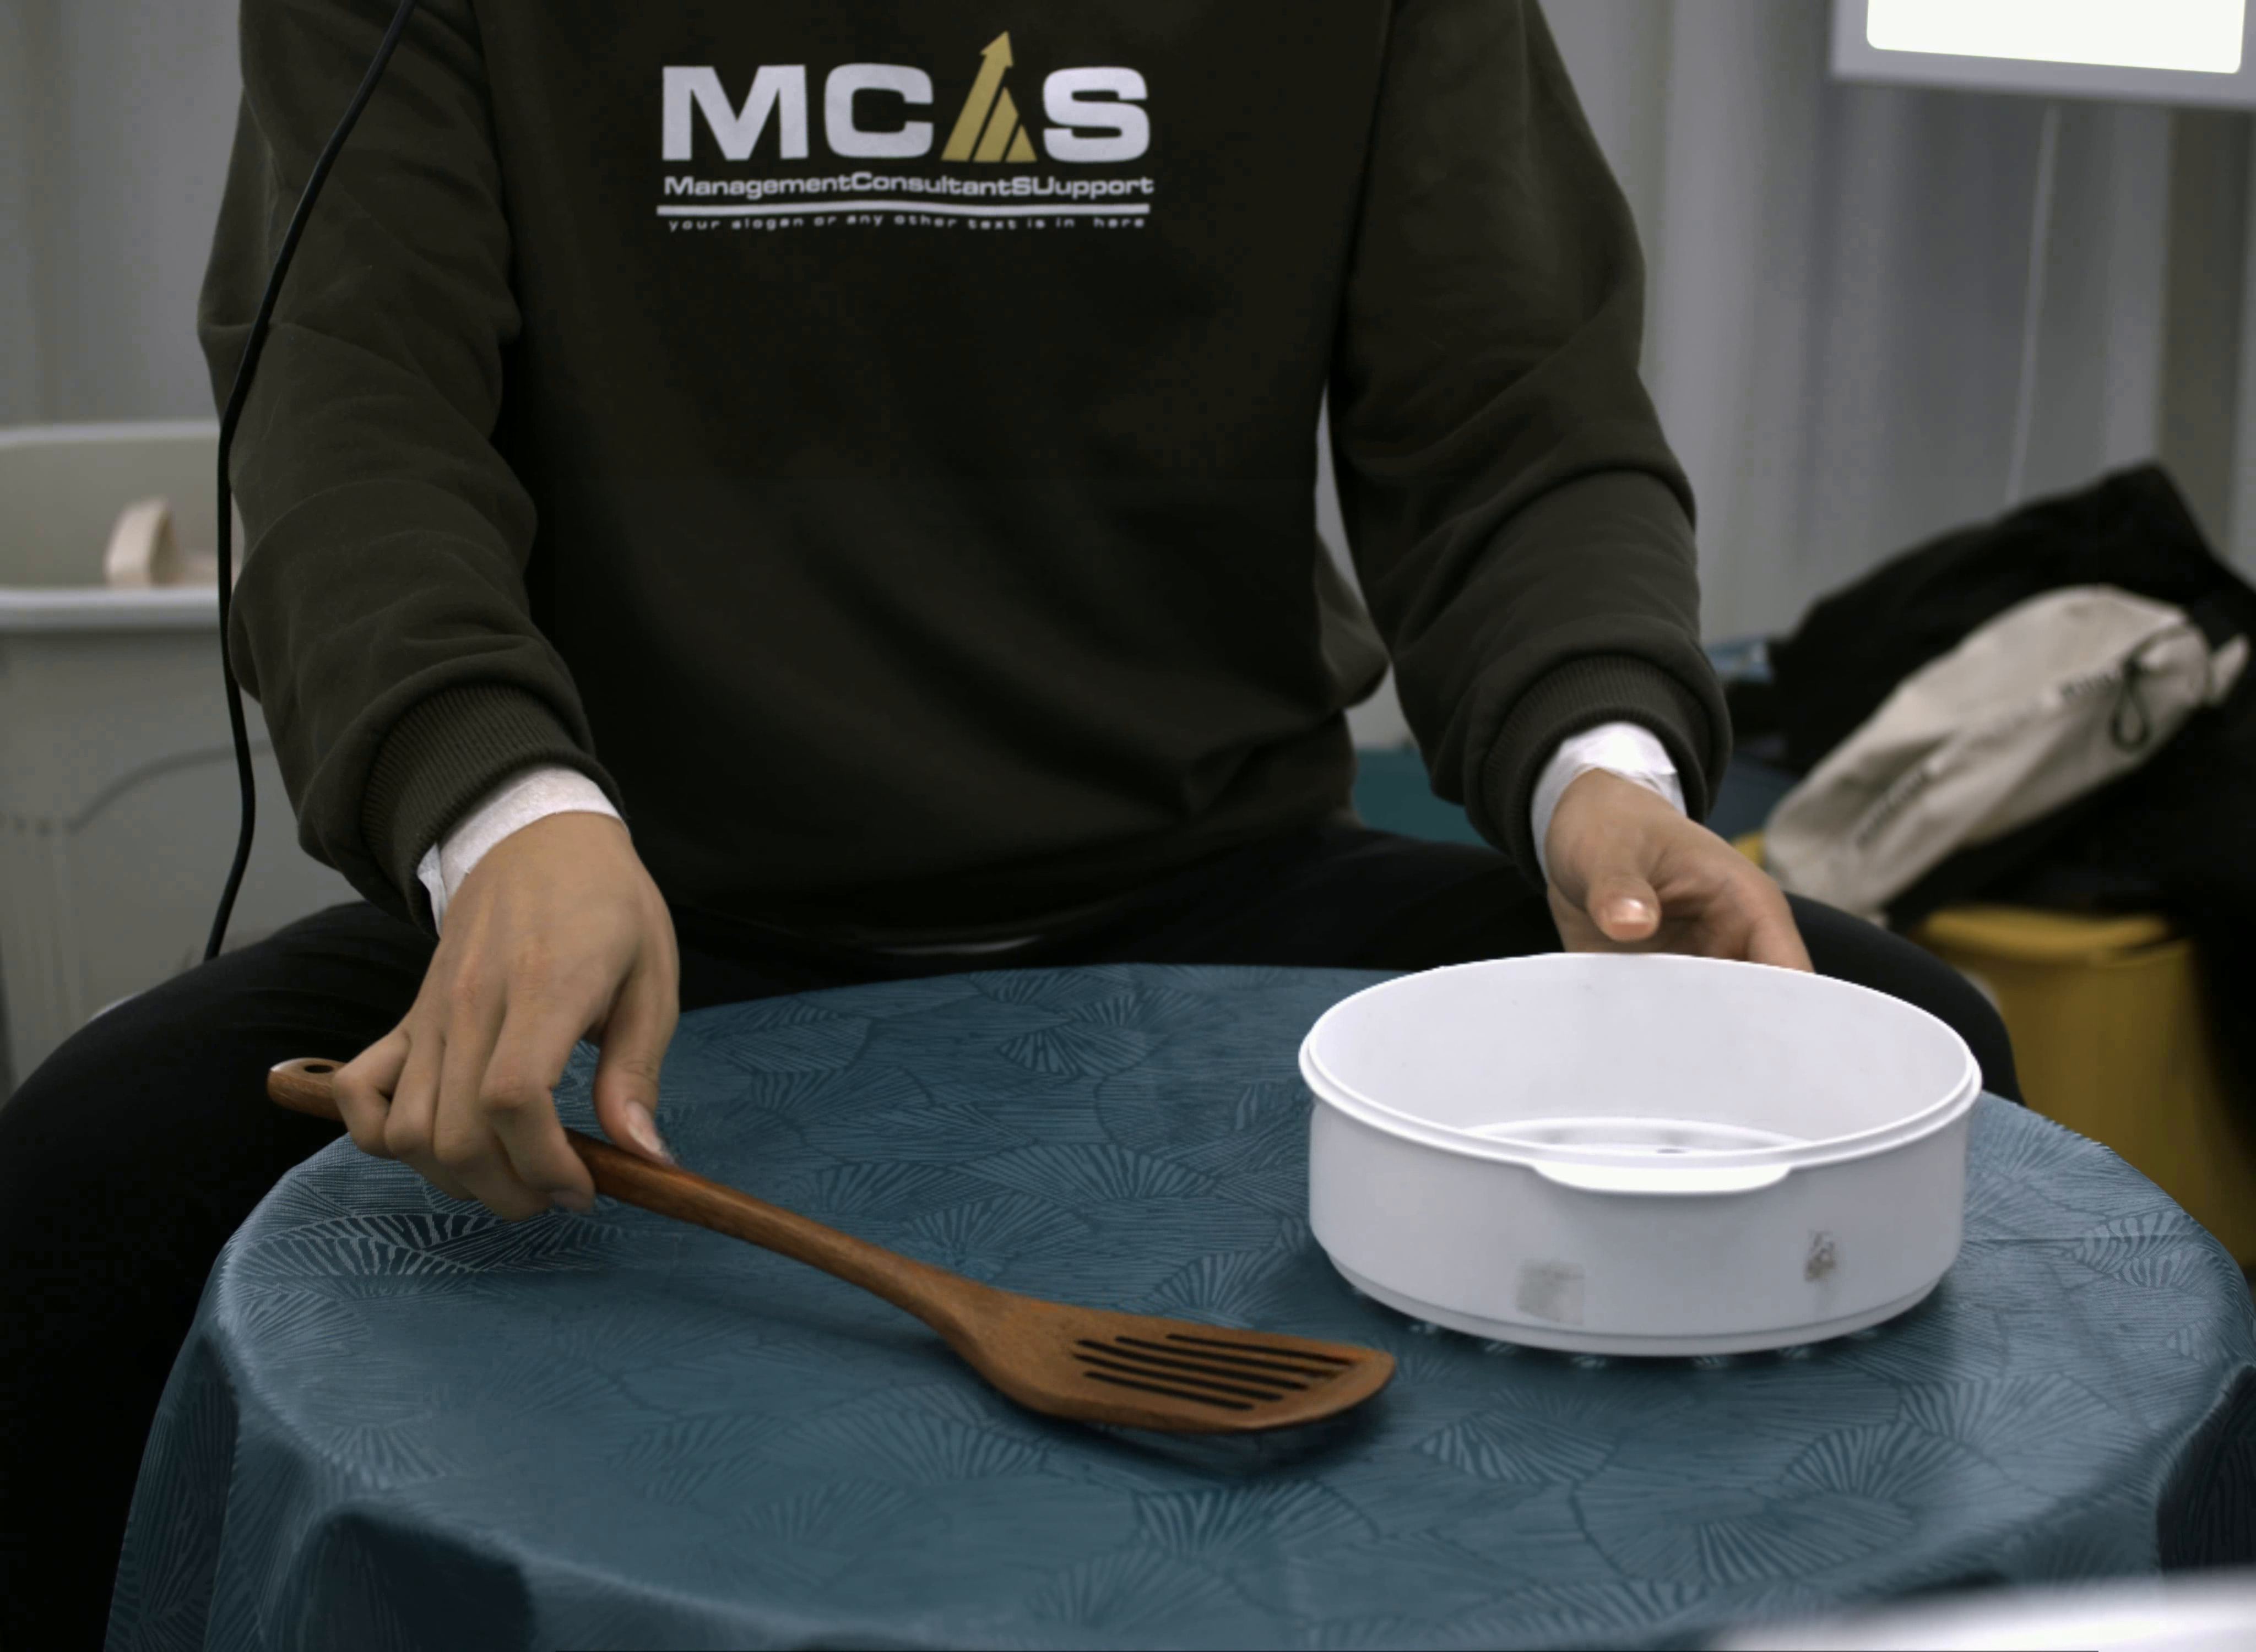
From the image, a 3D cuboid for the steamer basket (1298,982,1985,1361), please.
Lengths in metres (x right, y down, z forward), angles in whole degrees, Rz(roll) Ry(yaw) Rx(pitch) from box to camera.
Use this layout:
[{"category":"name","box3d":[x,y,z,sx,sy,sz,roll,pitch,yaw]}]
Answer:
[{"category":"steamer basket","box3d":[0.149,0.101,1.554,0.201,0.070,0.229,3,12,0]}]

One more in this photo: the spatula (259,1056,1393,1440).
[{"category":"spatula","box3d":[-0.103,0.120,1.514,0.380,0.024,0.086,16,18,29]}]
